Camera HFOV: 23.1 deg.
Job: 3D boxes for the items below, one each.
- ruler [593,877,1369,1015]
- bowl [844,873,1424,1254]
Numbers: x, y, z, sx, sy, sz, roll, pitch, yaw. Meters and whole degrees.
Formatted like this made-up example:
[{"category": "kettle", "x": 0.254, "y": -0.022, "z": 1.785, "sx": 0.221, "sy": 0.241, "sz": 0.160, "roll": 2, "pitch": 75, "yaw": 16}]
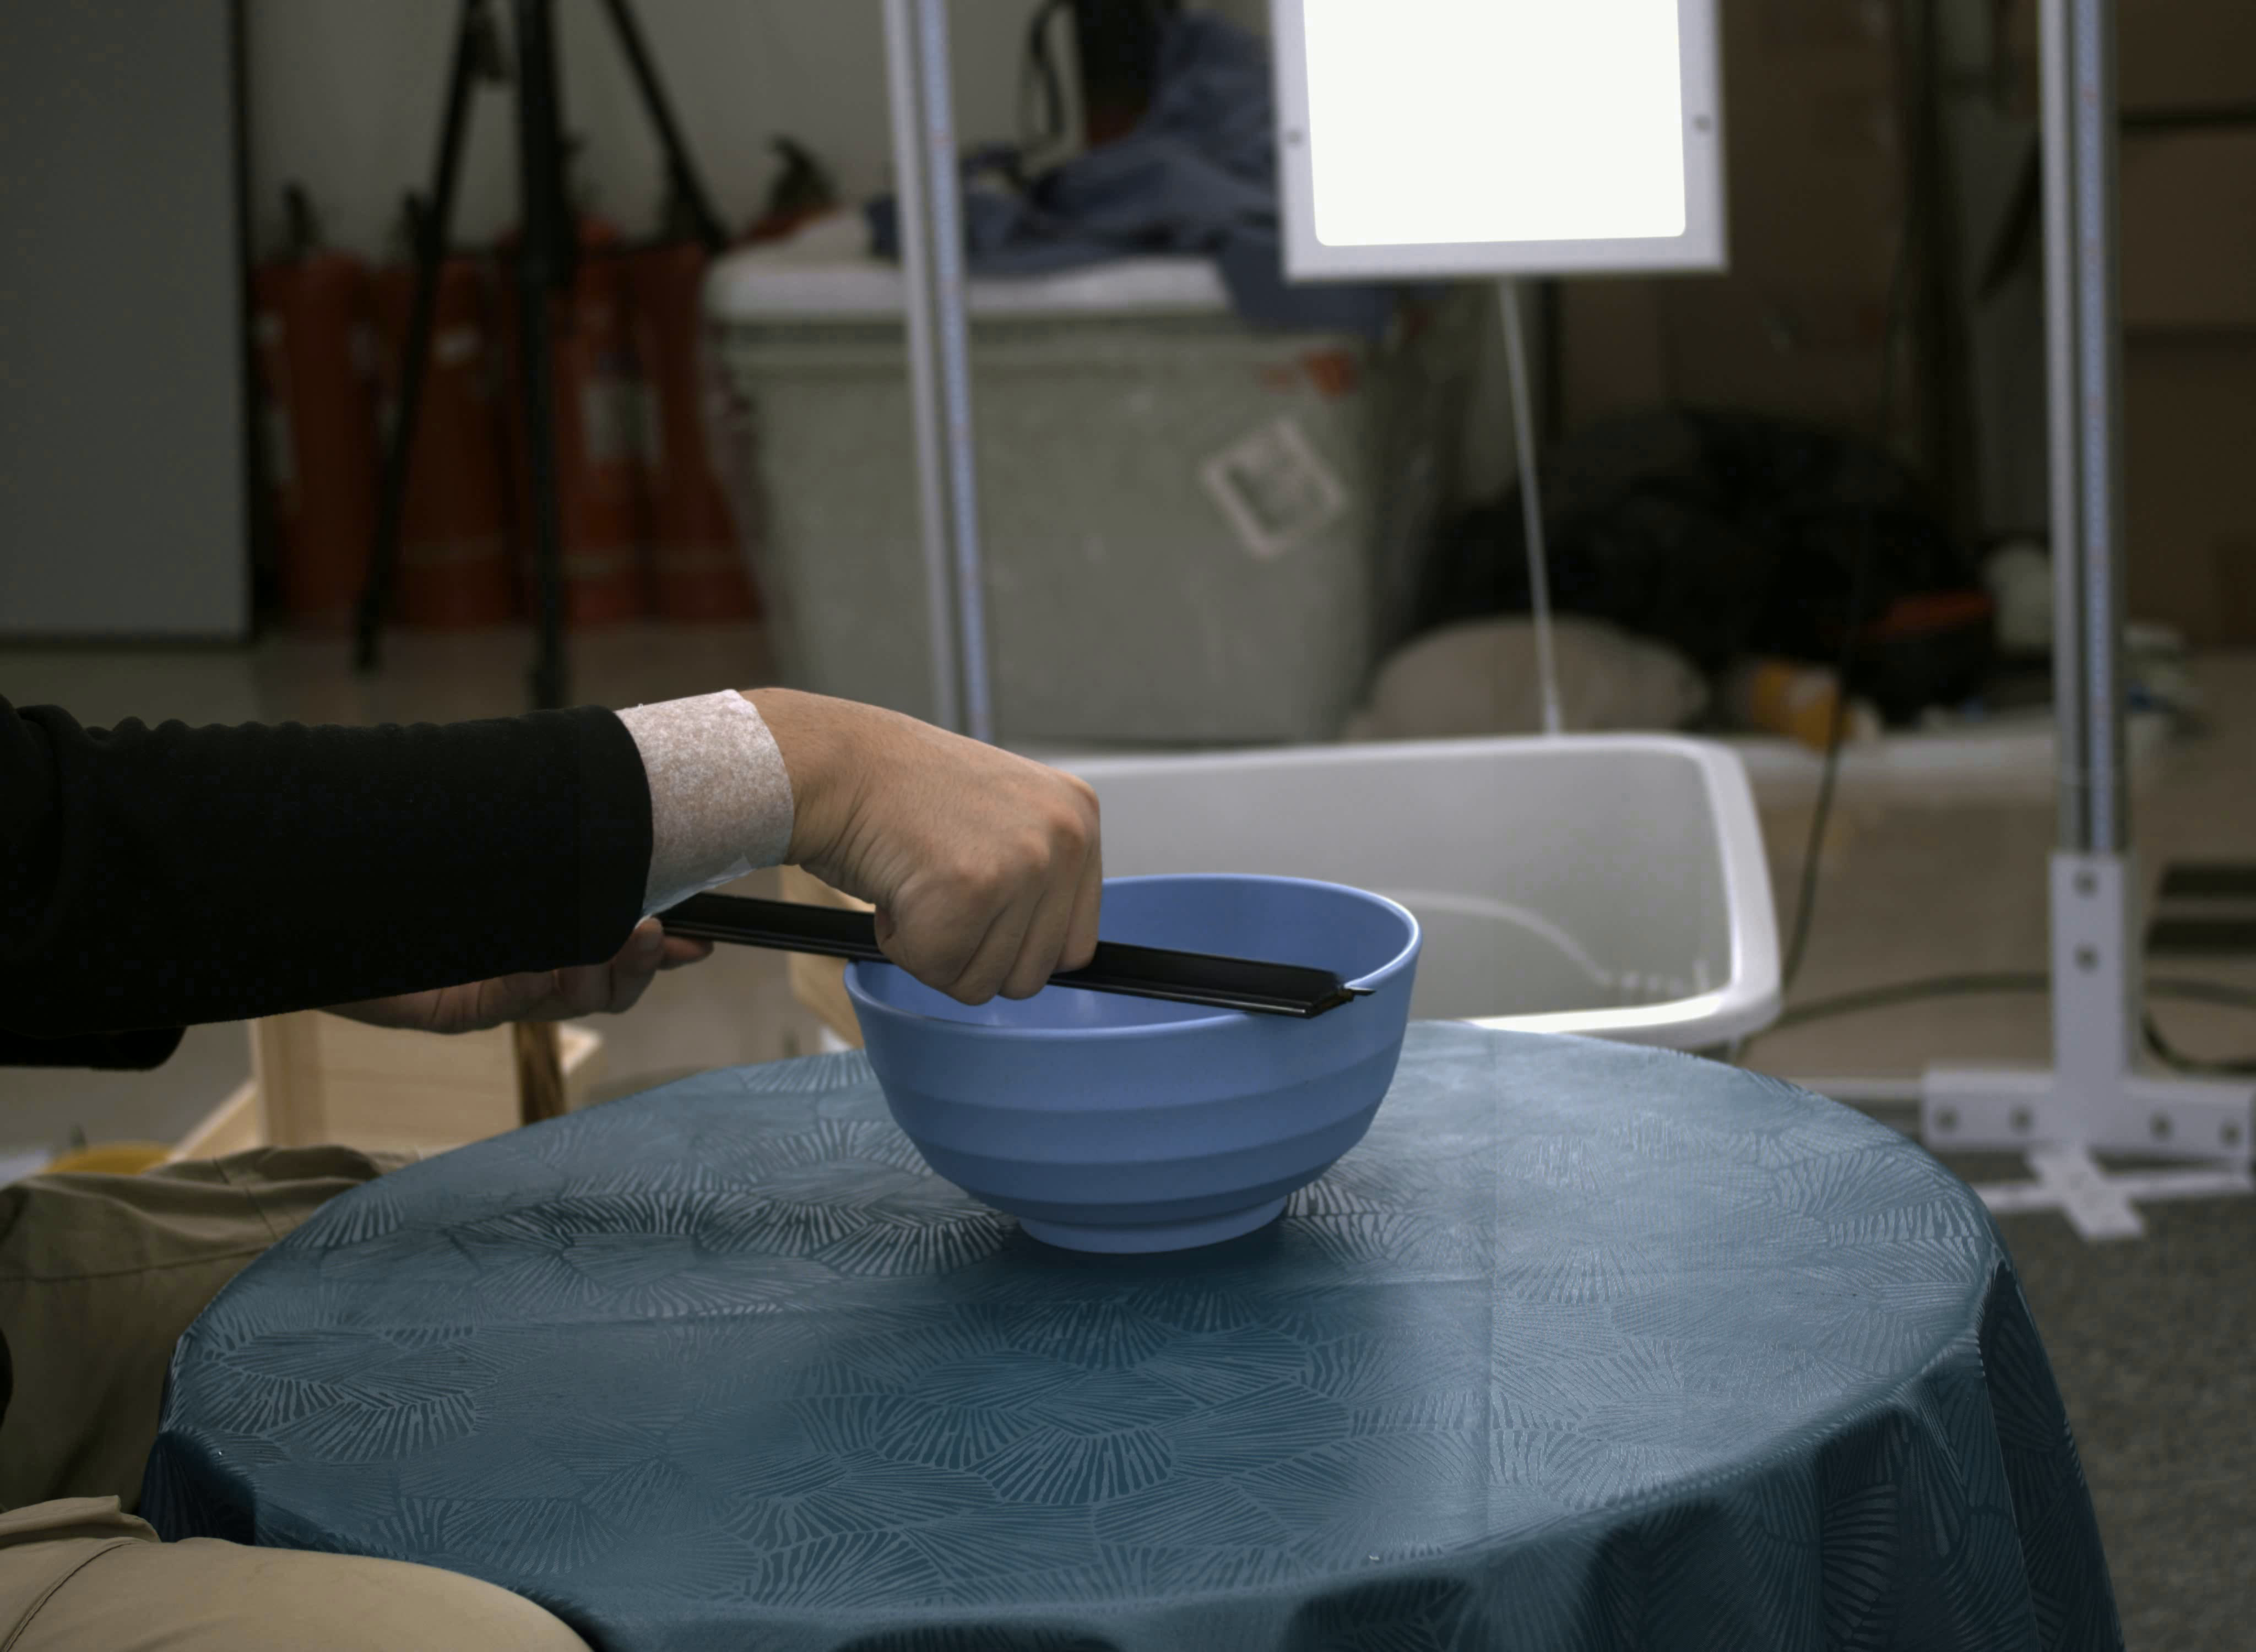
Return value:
[{"category": "ruler", "x": -0.054, "y": 0.037, "z": 1.856, "sx": 0.319, "sy": 0.017, "sz": 0.038, "roll": 6, "pitch": 11, "yaw": 39}, {"category": "bowl", "x": 0.005, "y": 0.086, "z": 1.863, "sx": 0.196, "sy": 0.096, "sz": 0.196, "roll": -4, "pitch": 13, "yaw": 0}]
